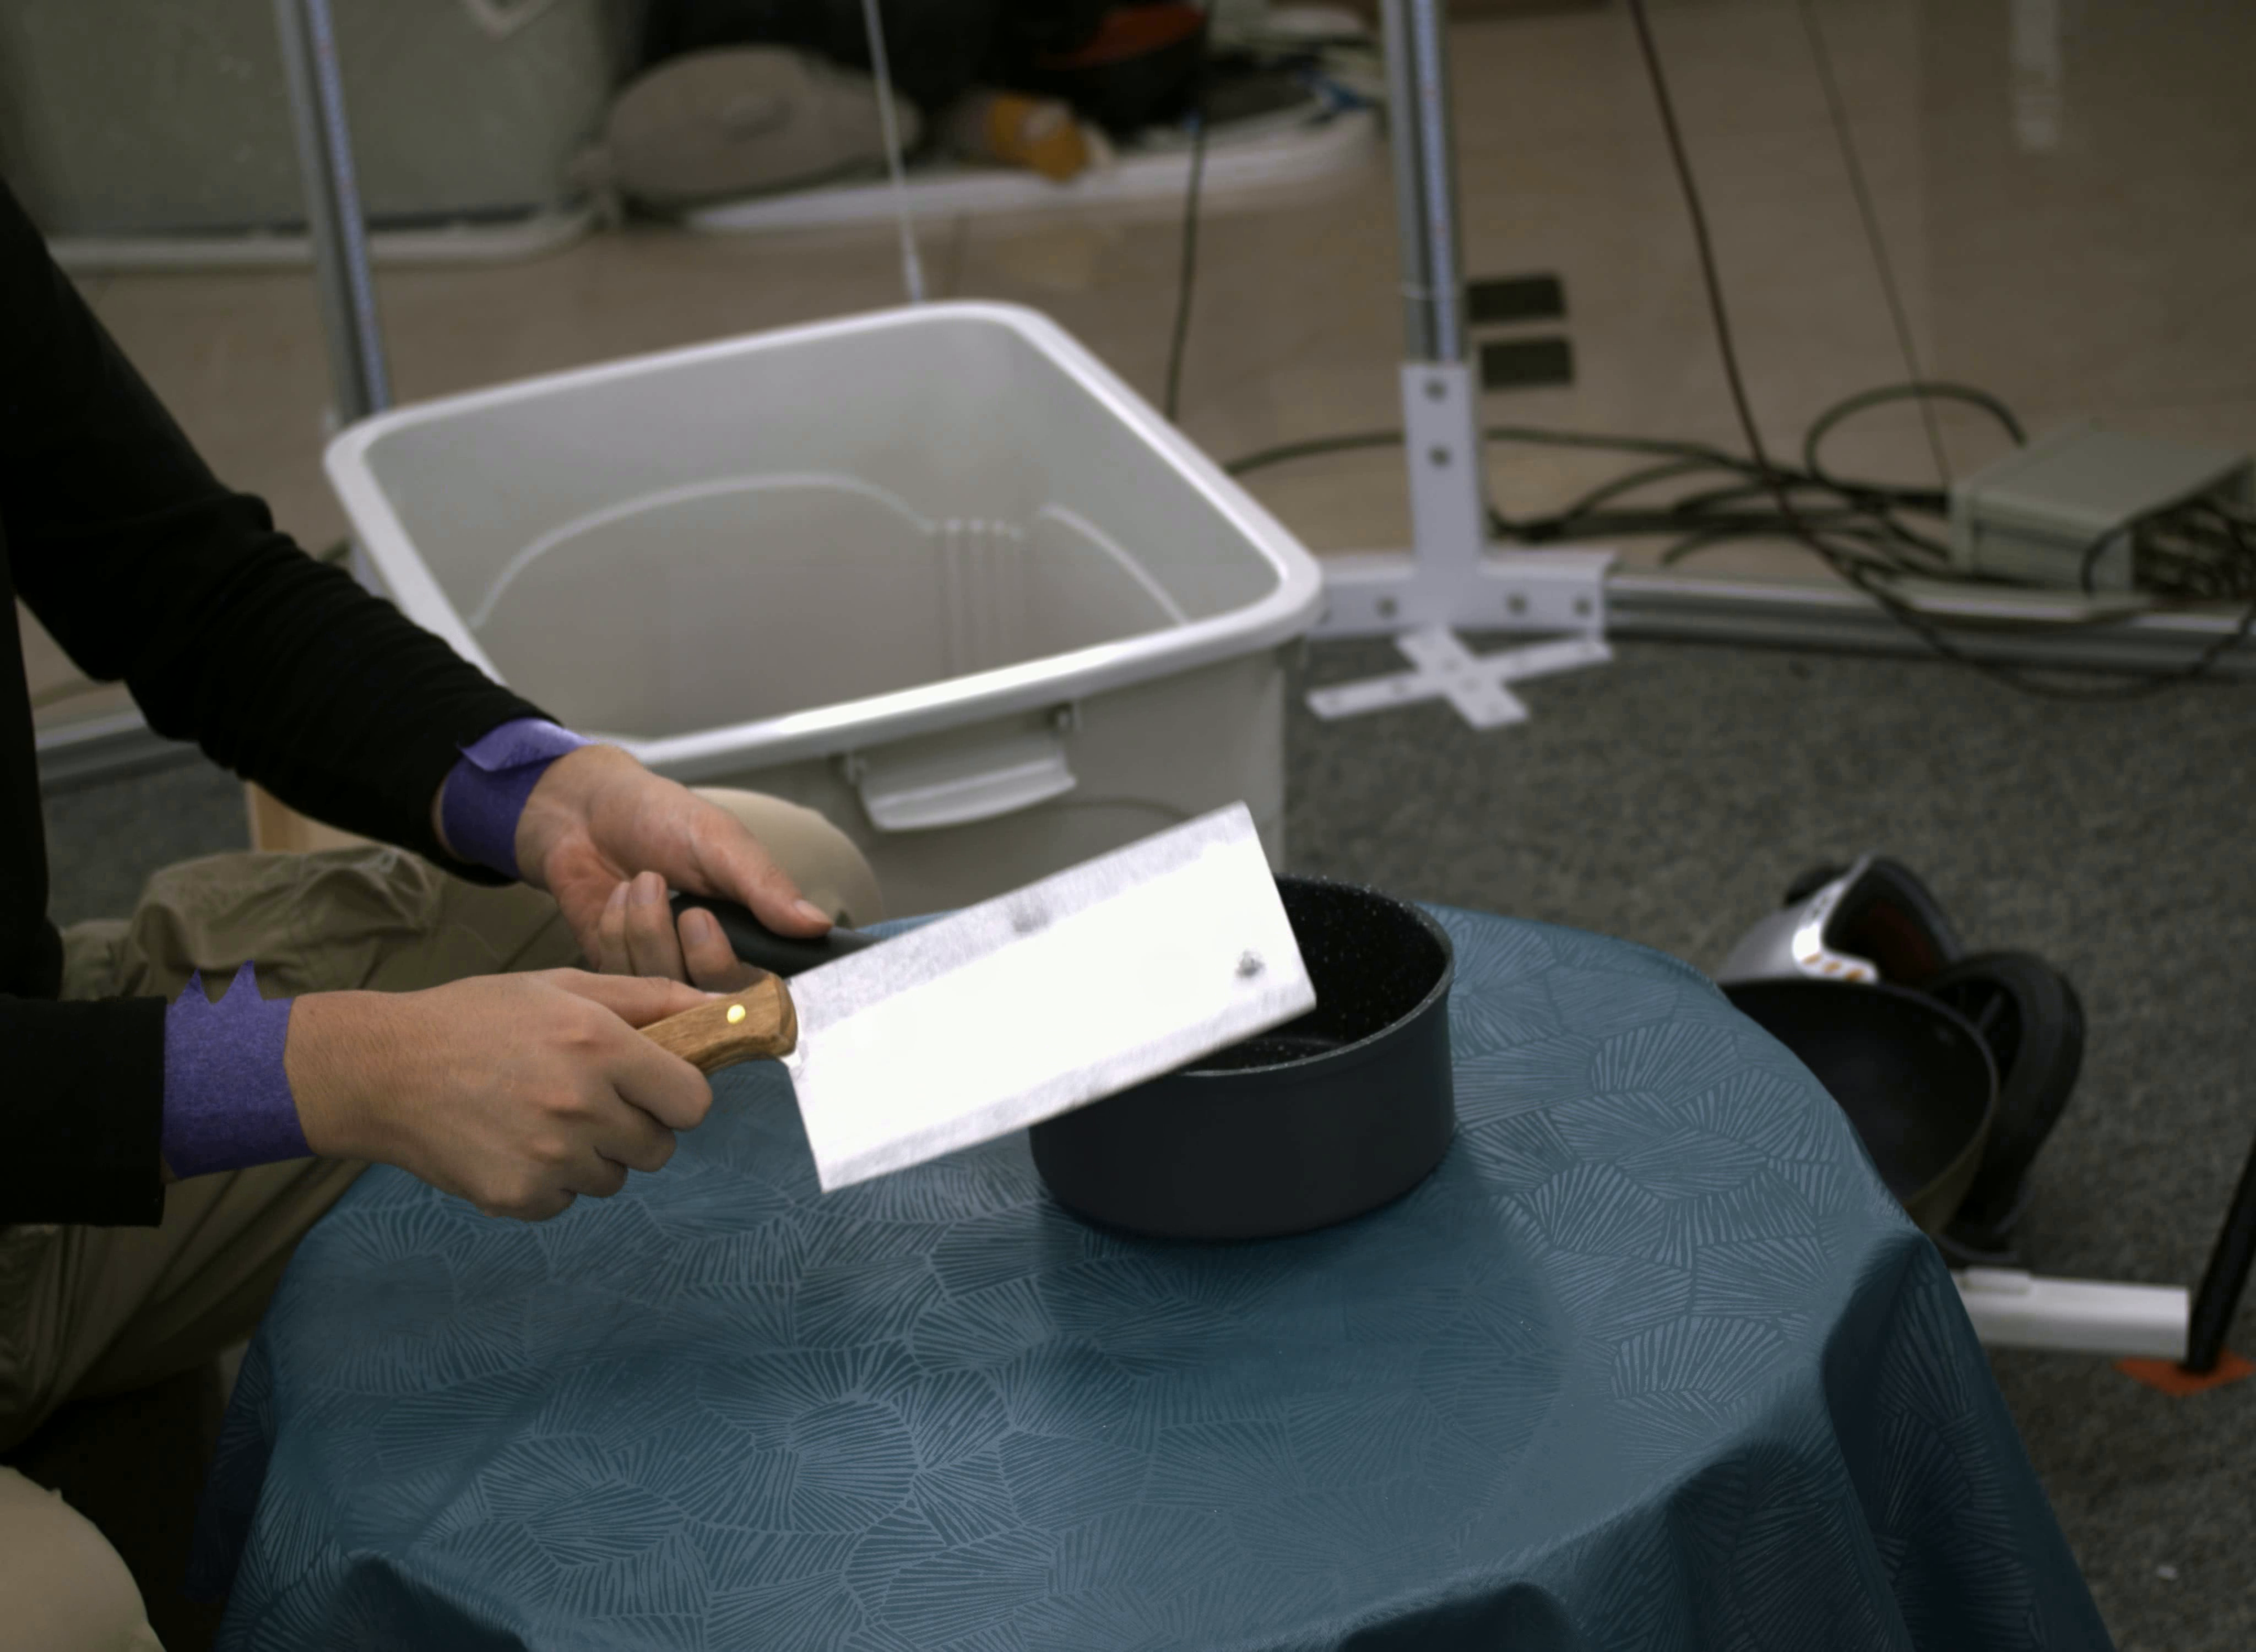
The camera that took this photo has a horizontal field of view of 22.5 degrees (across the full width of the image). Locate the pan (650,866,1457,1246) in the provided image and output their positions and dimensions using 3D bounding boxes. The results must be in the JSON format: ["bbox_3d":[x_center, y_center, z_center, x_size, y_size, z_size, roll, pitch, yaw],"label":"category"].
[{"bbox_3d":[-0.032,0.079,2.184,0.327,0.088,0.170,6,28,22],"label":"pan"}]

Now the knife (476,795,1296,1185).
[{"bbox_3d":[-0.086,0.078,2.048,0.305,0.021,0.091,-22,60,3],"label":"knife"}]
